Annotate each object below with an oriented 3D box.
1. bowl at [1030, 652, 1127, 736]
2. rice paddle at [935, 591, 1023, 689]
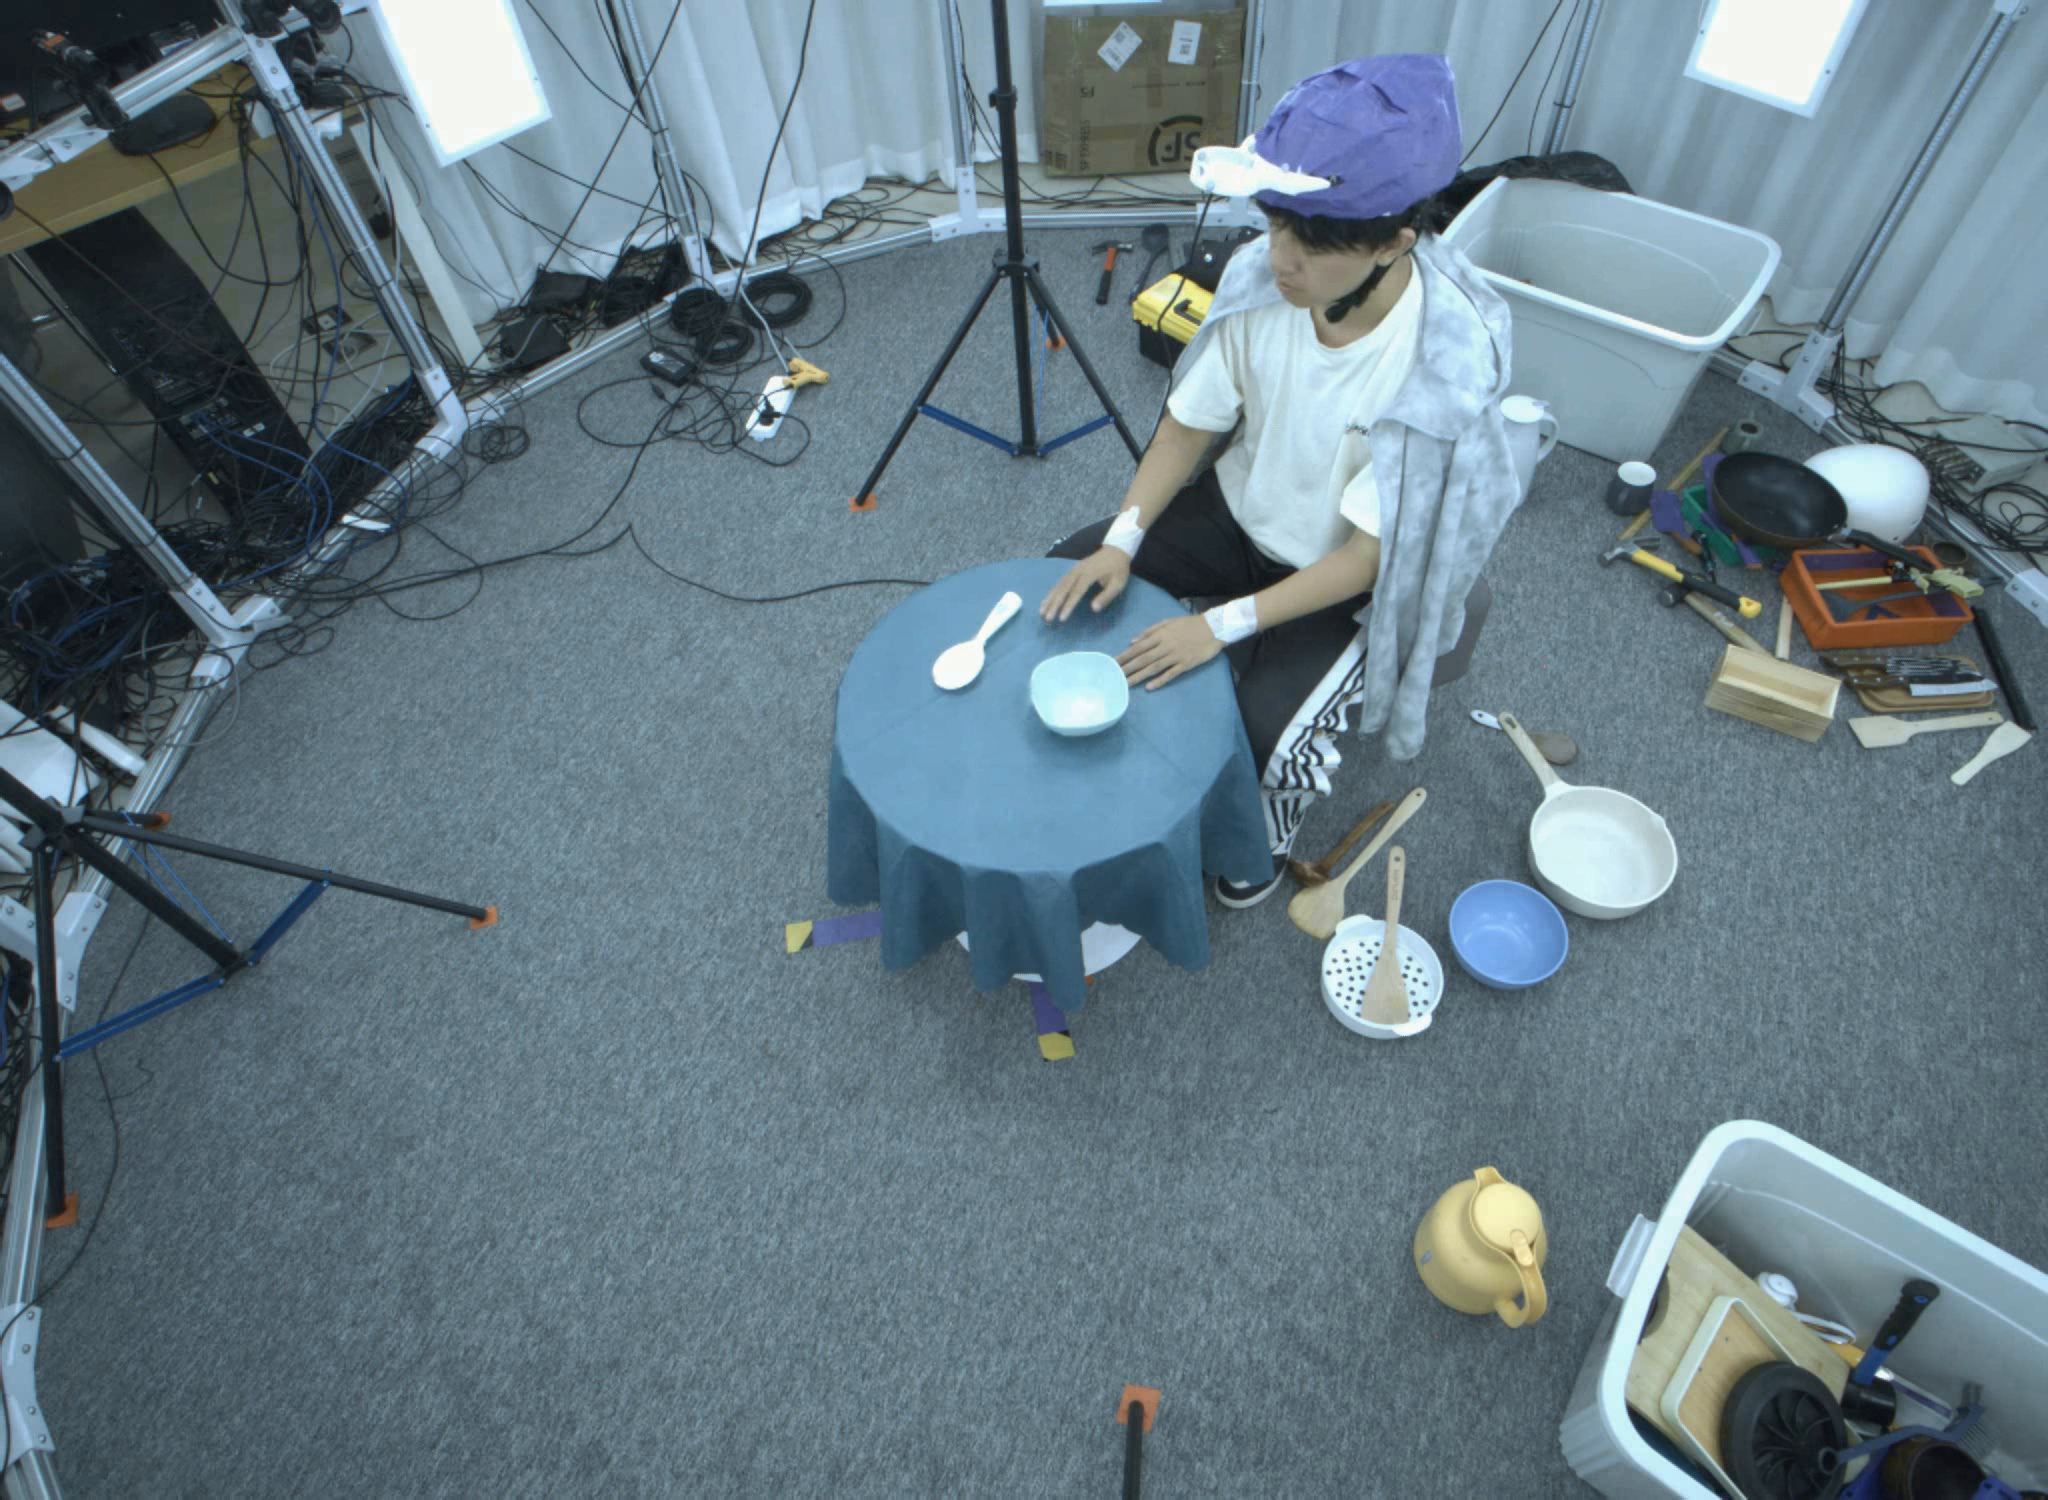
[{"bbox_3d":[0.081,-0.072,1.800,0.151,0.059,0.150,-3,53,5],"label":"bowl"},{"bbox_3d":[-0.068,-0.169,1.892,0.068,0.030,0.206,24,59,20],"label":"rice paddle"}]
